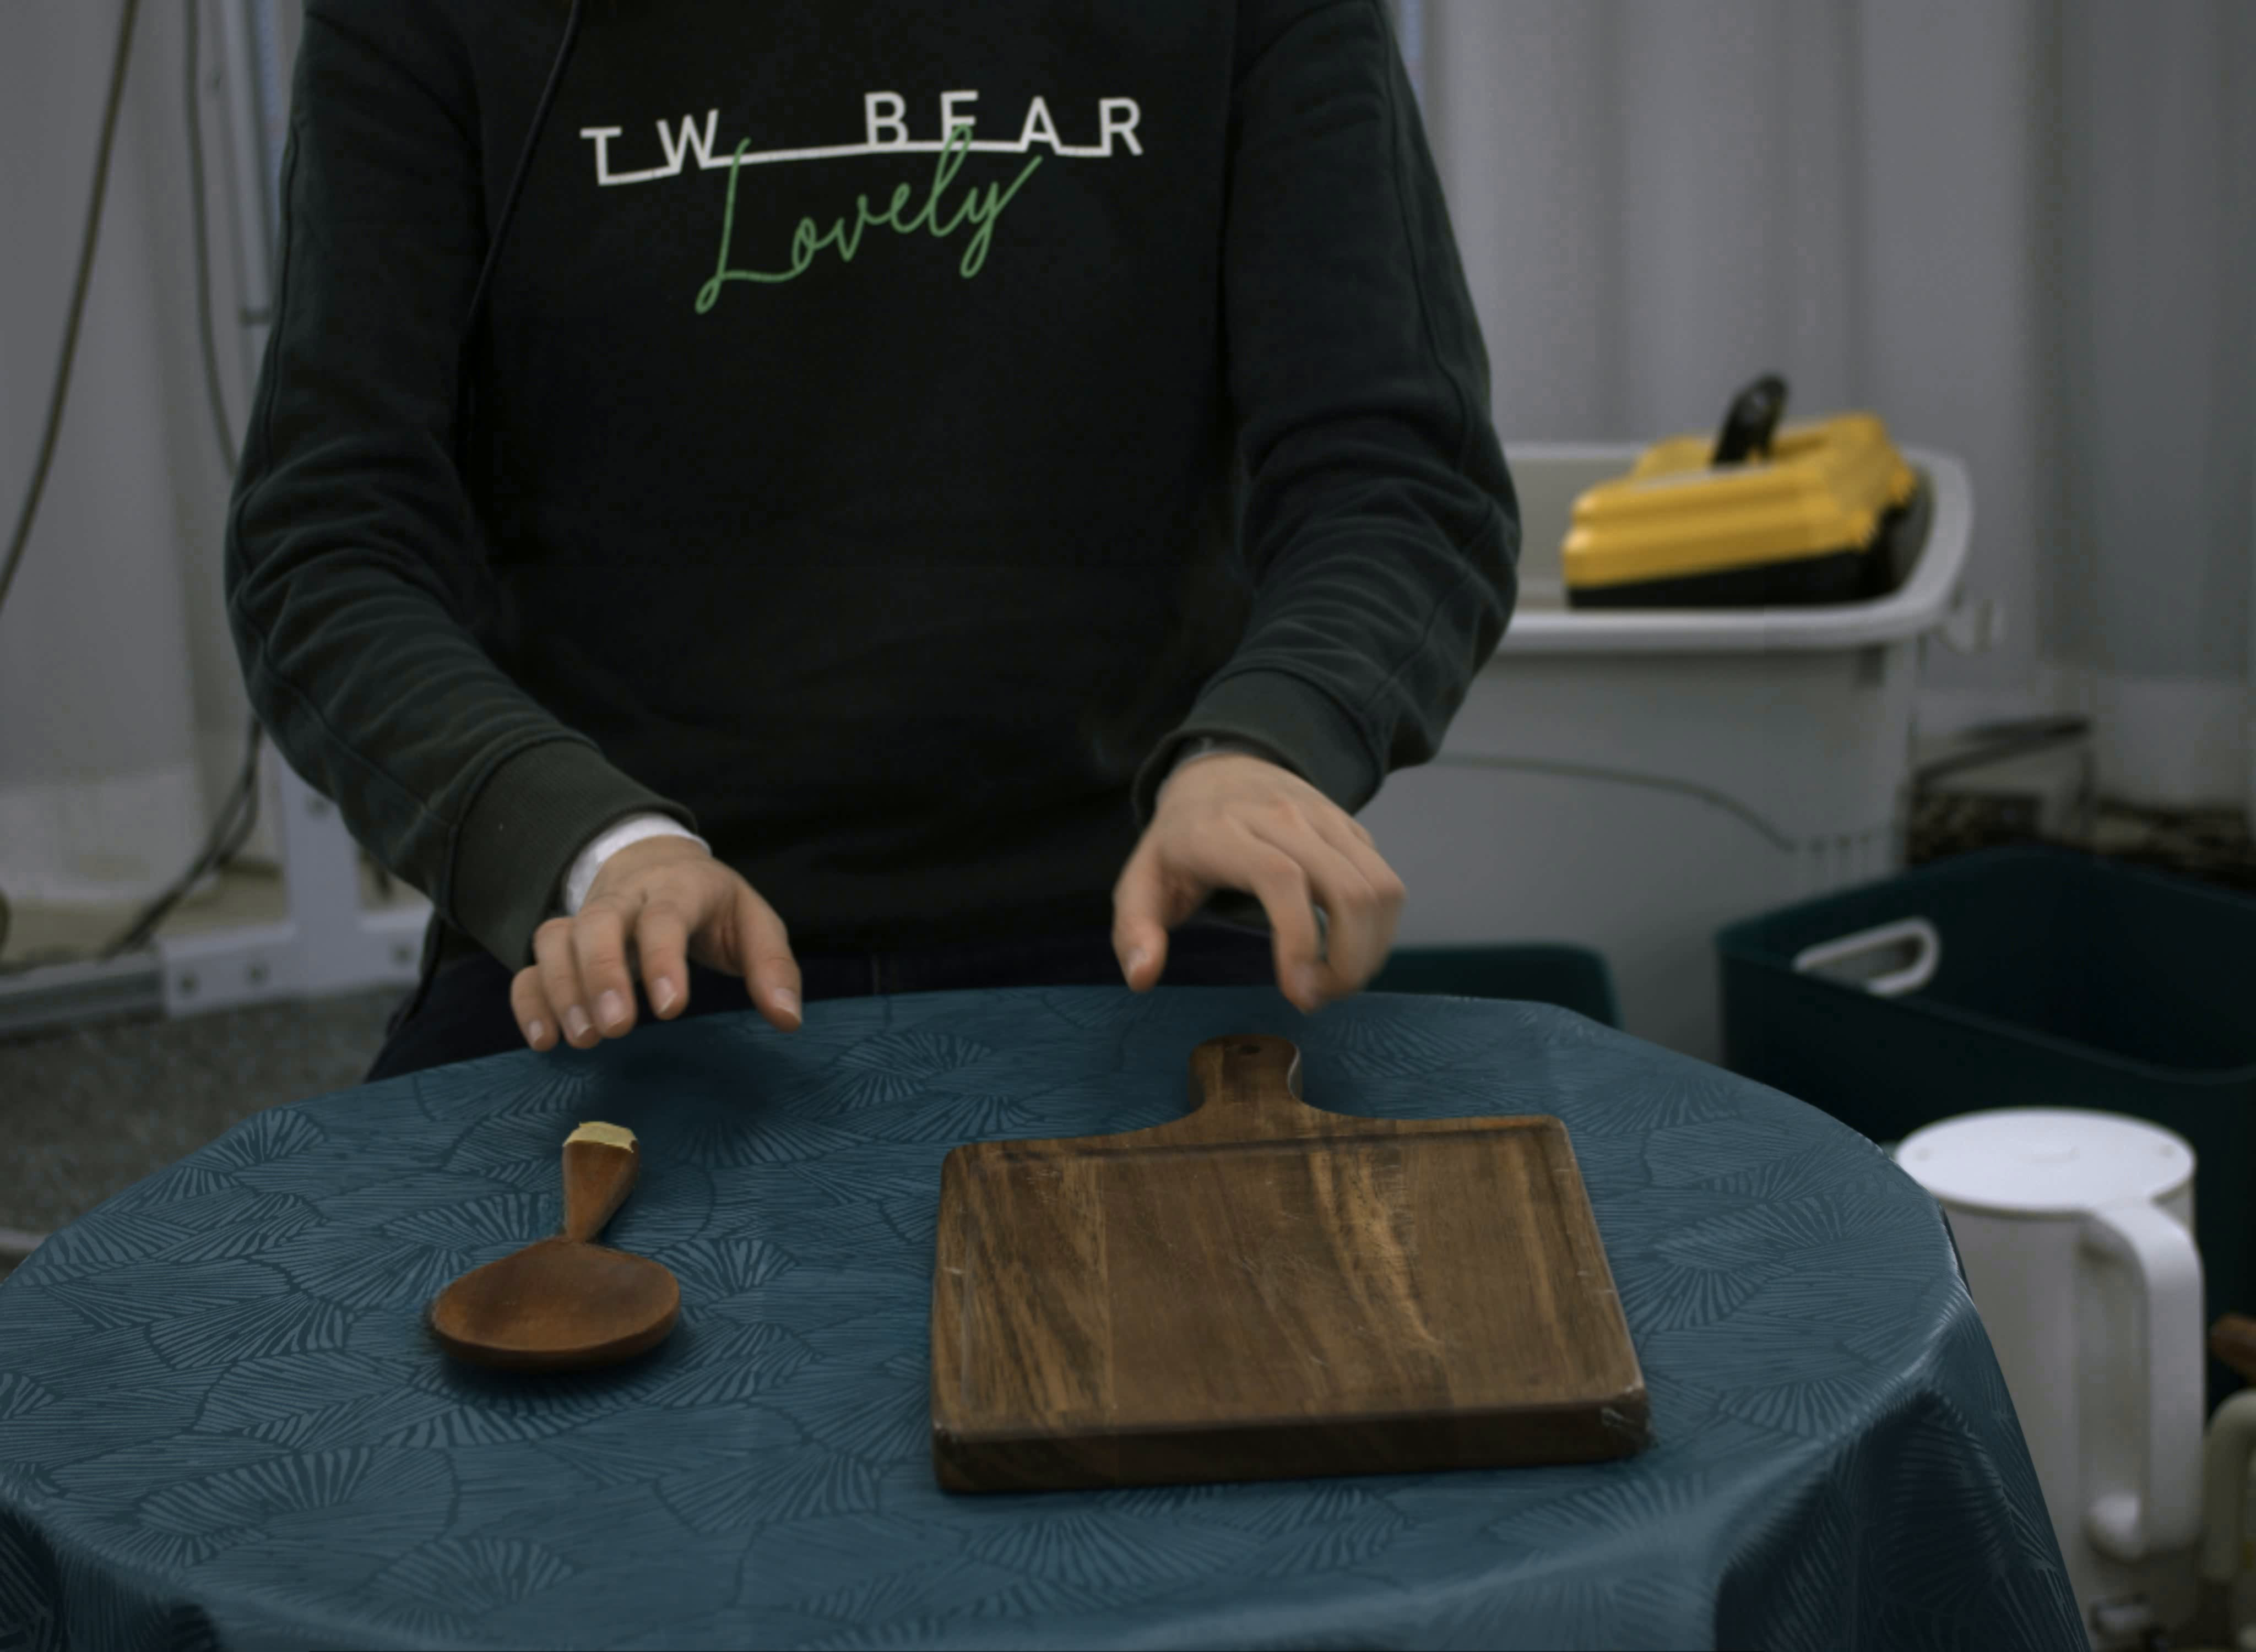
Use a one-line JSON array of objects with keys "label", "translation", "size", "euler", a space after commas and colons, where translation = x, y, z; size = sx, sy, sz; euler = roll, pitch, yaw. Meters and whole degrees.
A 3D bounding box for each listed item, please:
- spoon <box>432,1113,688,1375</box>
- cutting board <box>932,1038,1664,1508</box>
[{"label": "spoon", "translation": [-0.166, 0.128, 1.662], "size": [0.075, 0.017, 0.217], "euler": [-4, 15, 1]}, {"label": "cutting board", "translation": [0.042, 0.124, 1.638], "size": [0.200, 0.023, 0.354], "euler": [-4, 15, 0]}]
